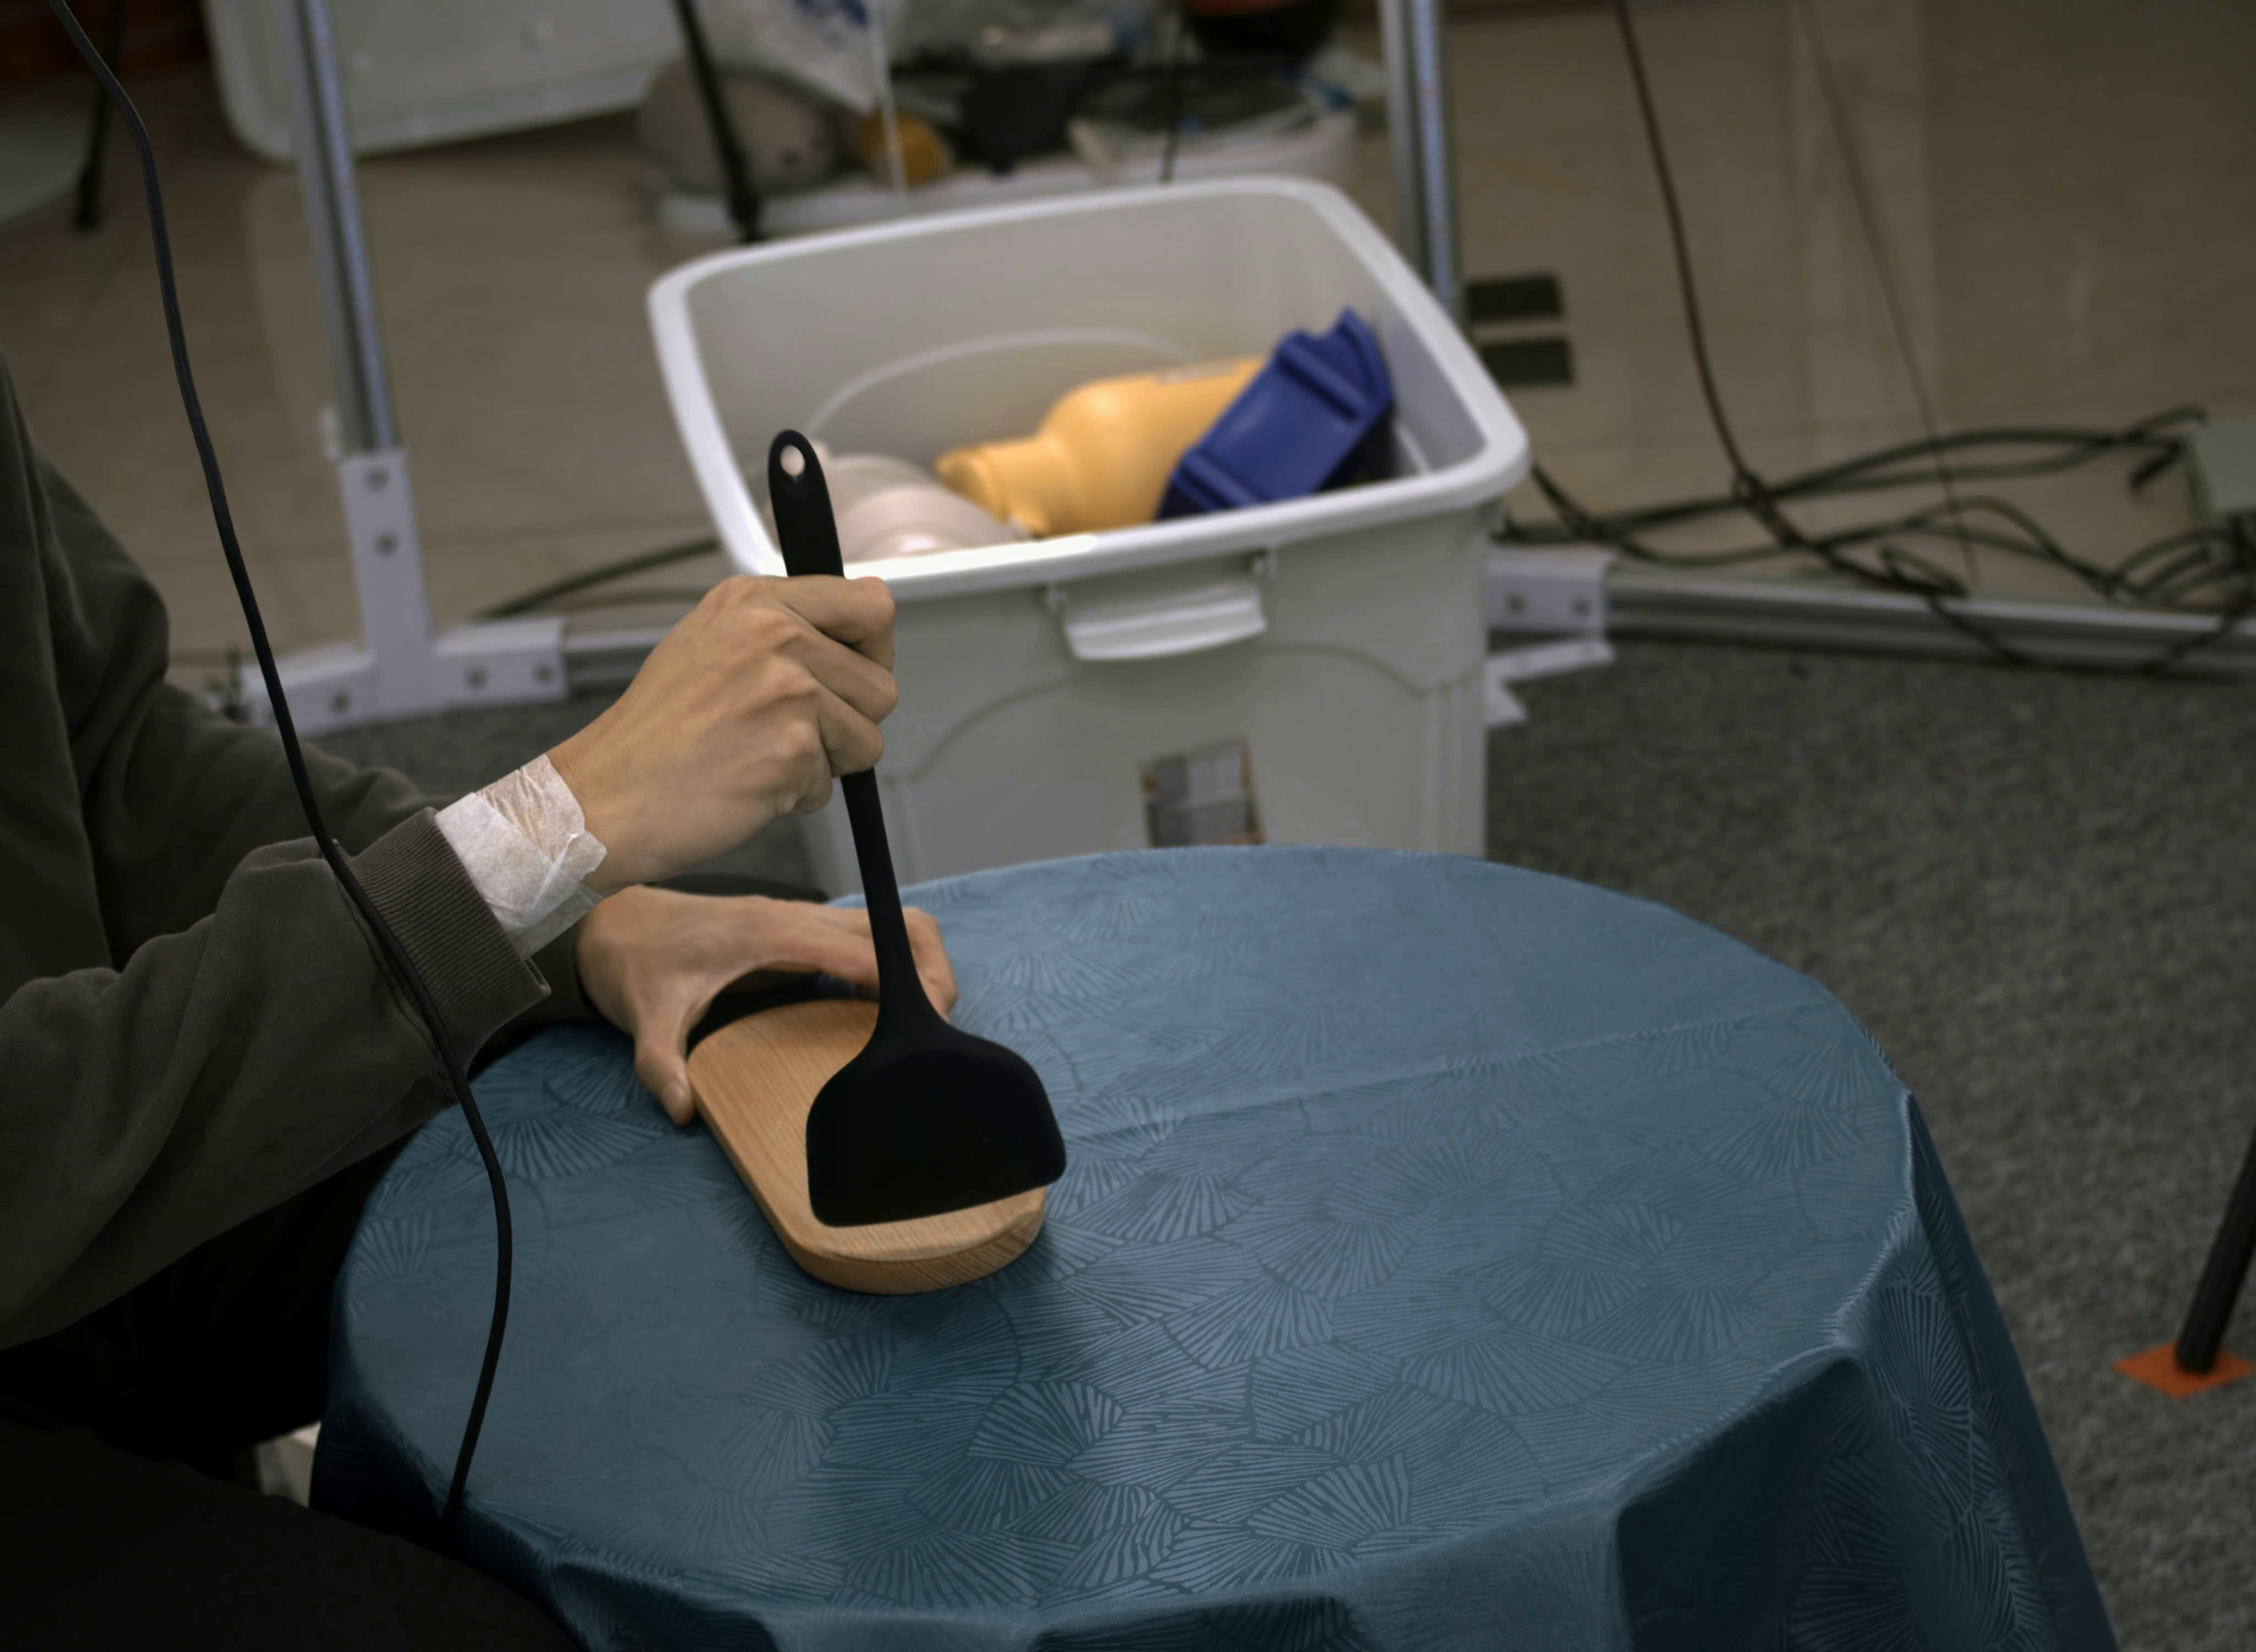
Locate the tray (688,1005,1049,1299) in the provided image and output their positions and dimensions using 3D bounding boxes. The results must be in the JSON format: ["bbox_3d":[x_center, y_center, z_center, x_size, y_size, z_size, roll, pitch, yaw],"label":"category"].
[{"bbox_3d":[-0.102,0.124,2.186,0.101,0.020,0.228,-14,28,-15],"label":"tray"}]

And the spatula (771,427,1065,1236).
[{"bbox_3d":[-0.092,0.006,2.024,0.099,0.331,0.040,-11,25,-4],"label":"spatula"}]
